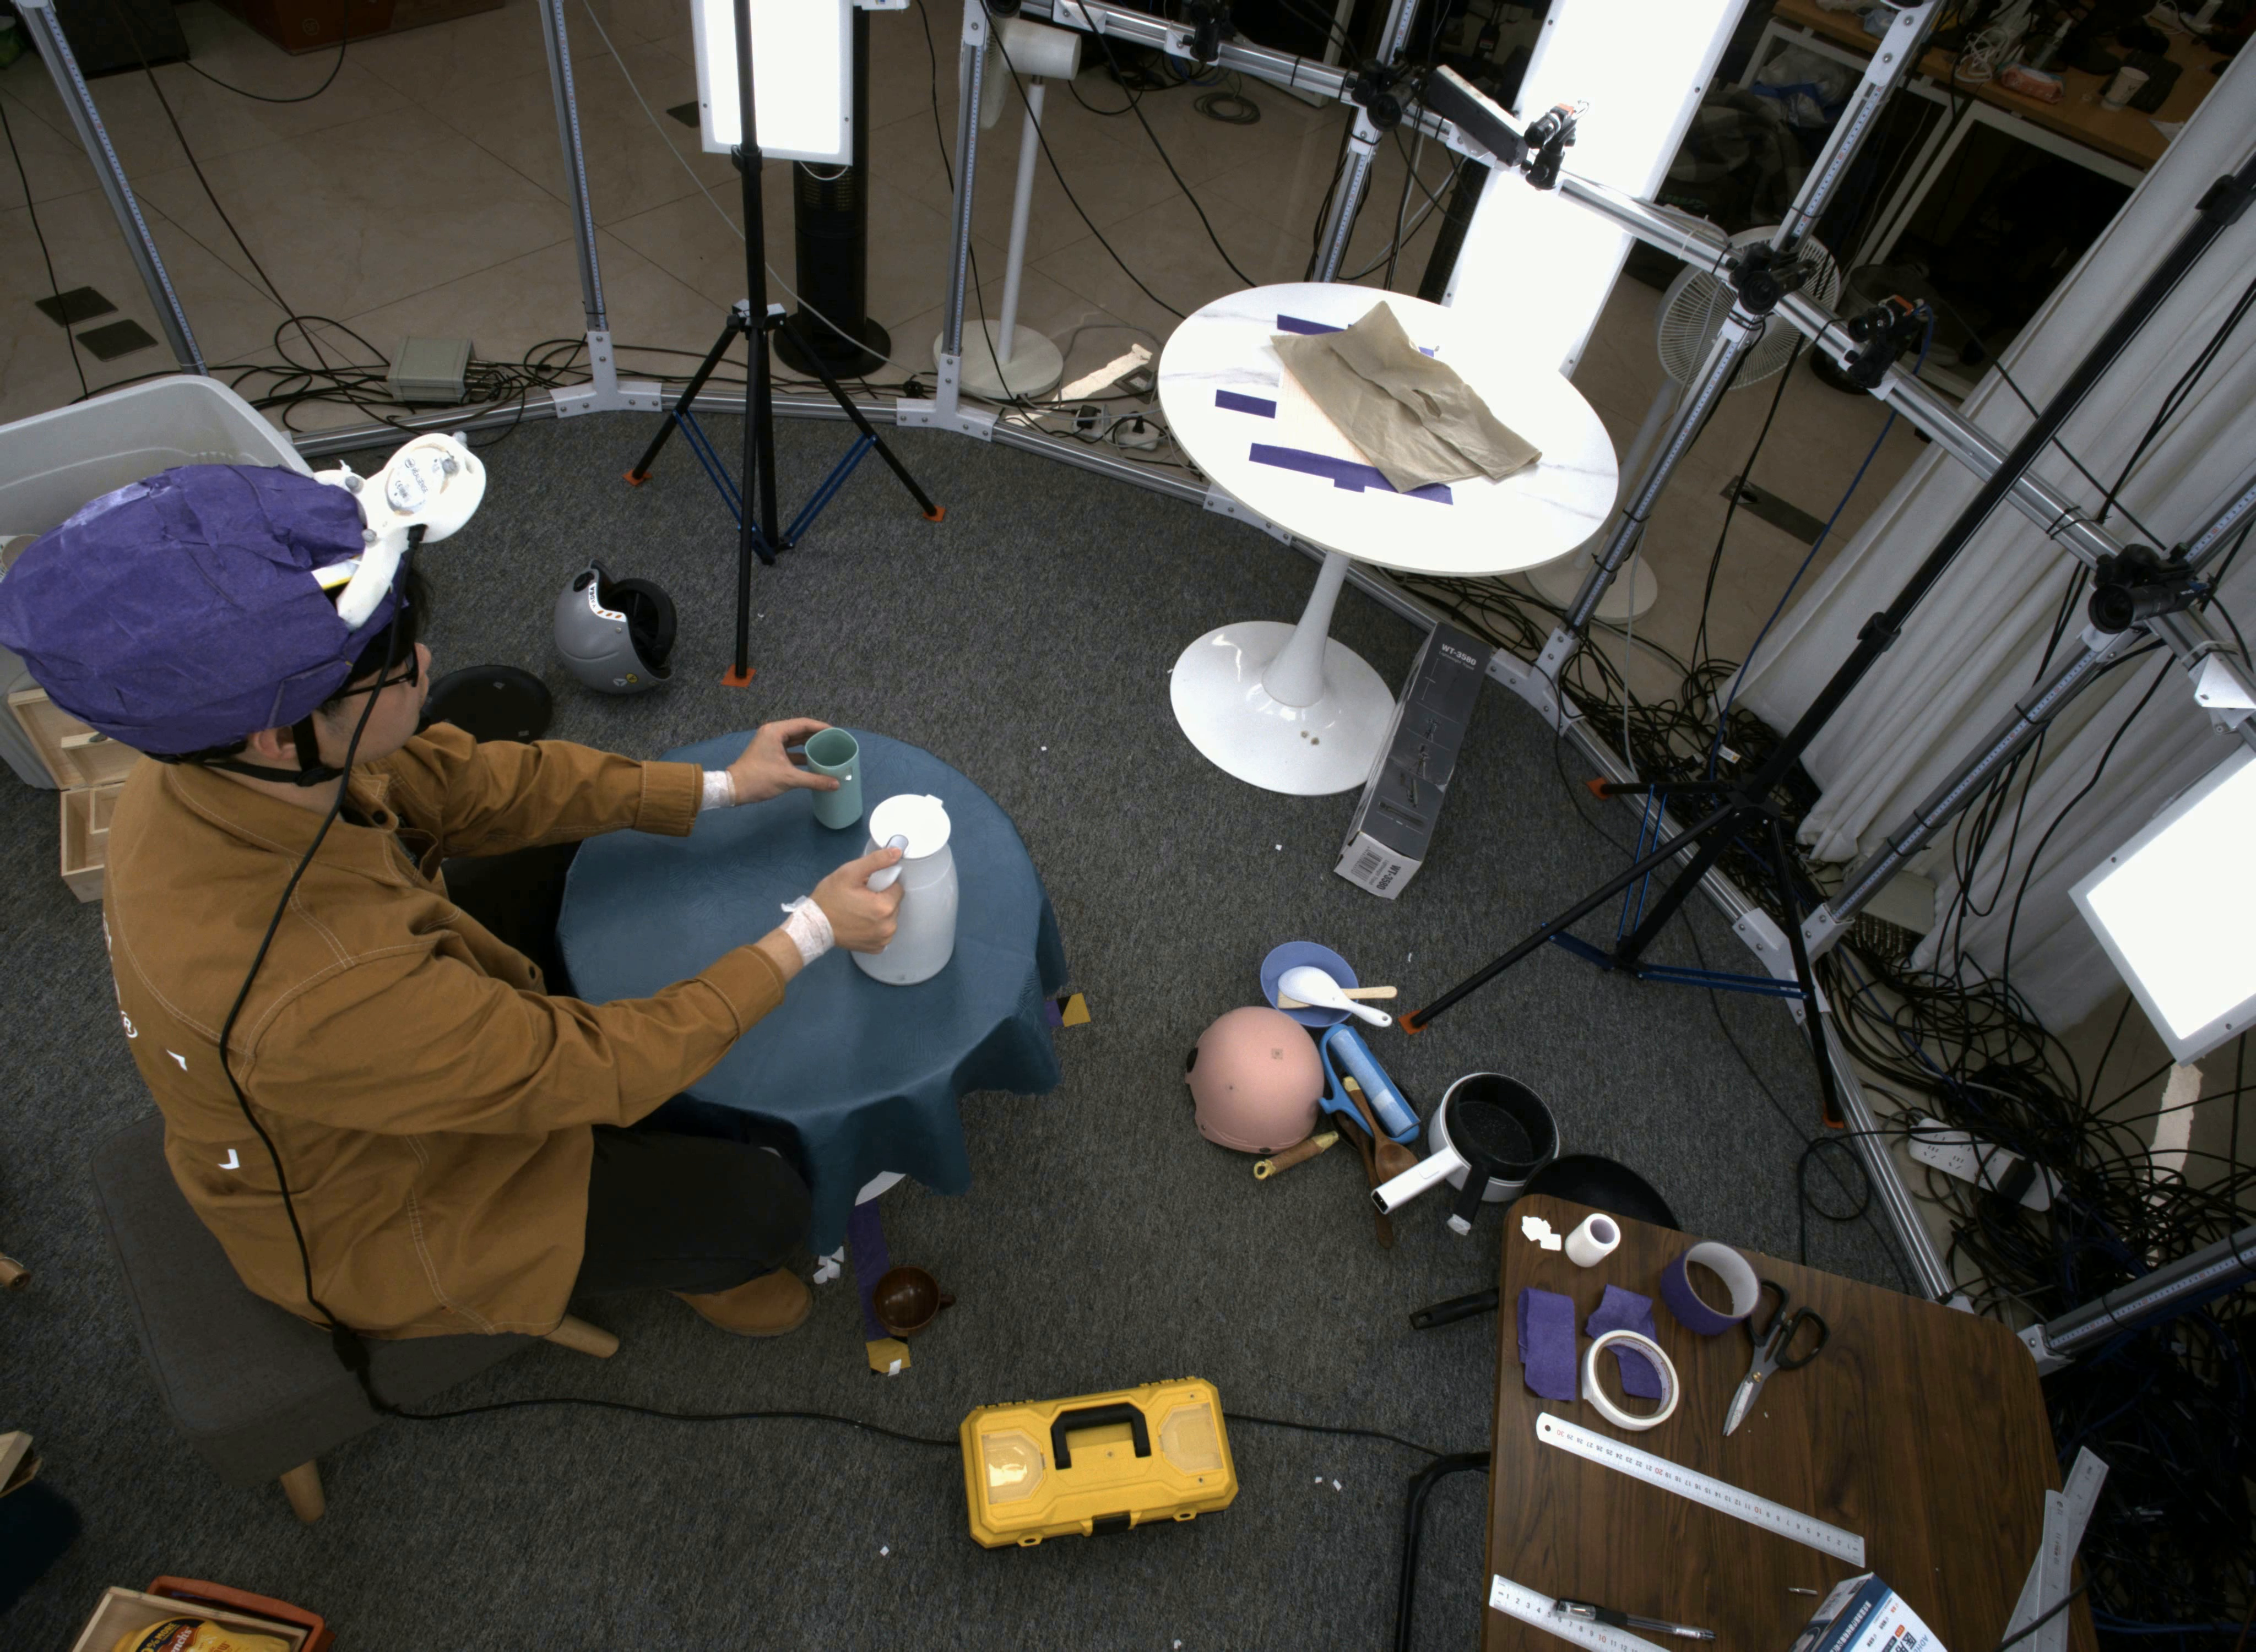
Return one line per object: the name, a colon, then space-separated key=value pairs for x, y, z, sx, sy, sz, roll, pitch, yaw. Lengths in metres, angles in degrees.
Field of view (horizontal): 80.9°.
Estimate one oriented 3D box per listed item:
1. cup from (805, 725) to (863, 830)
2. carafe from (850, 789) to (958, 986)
cup: x=-0.382 y=-0.061 z=1.684 sx=0.066 sy=0.135 sz=0.065 roll=4 pitch=52 yaw=-4
carafe: x=-0.272 y=0.080 z=1.539 sx=0.131 sy=0.254 sz=0.166 roll=23 pitch=51 yaw=5
